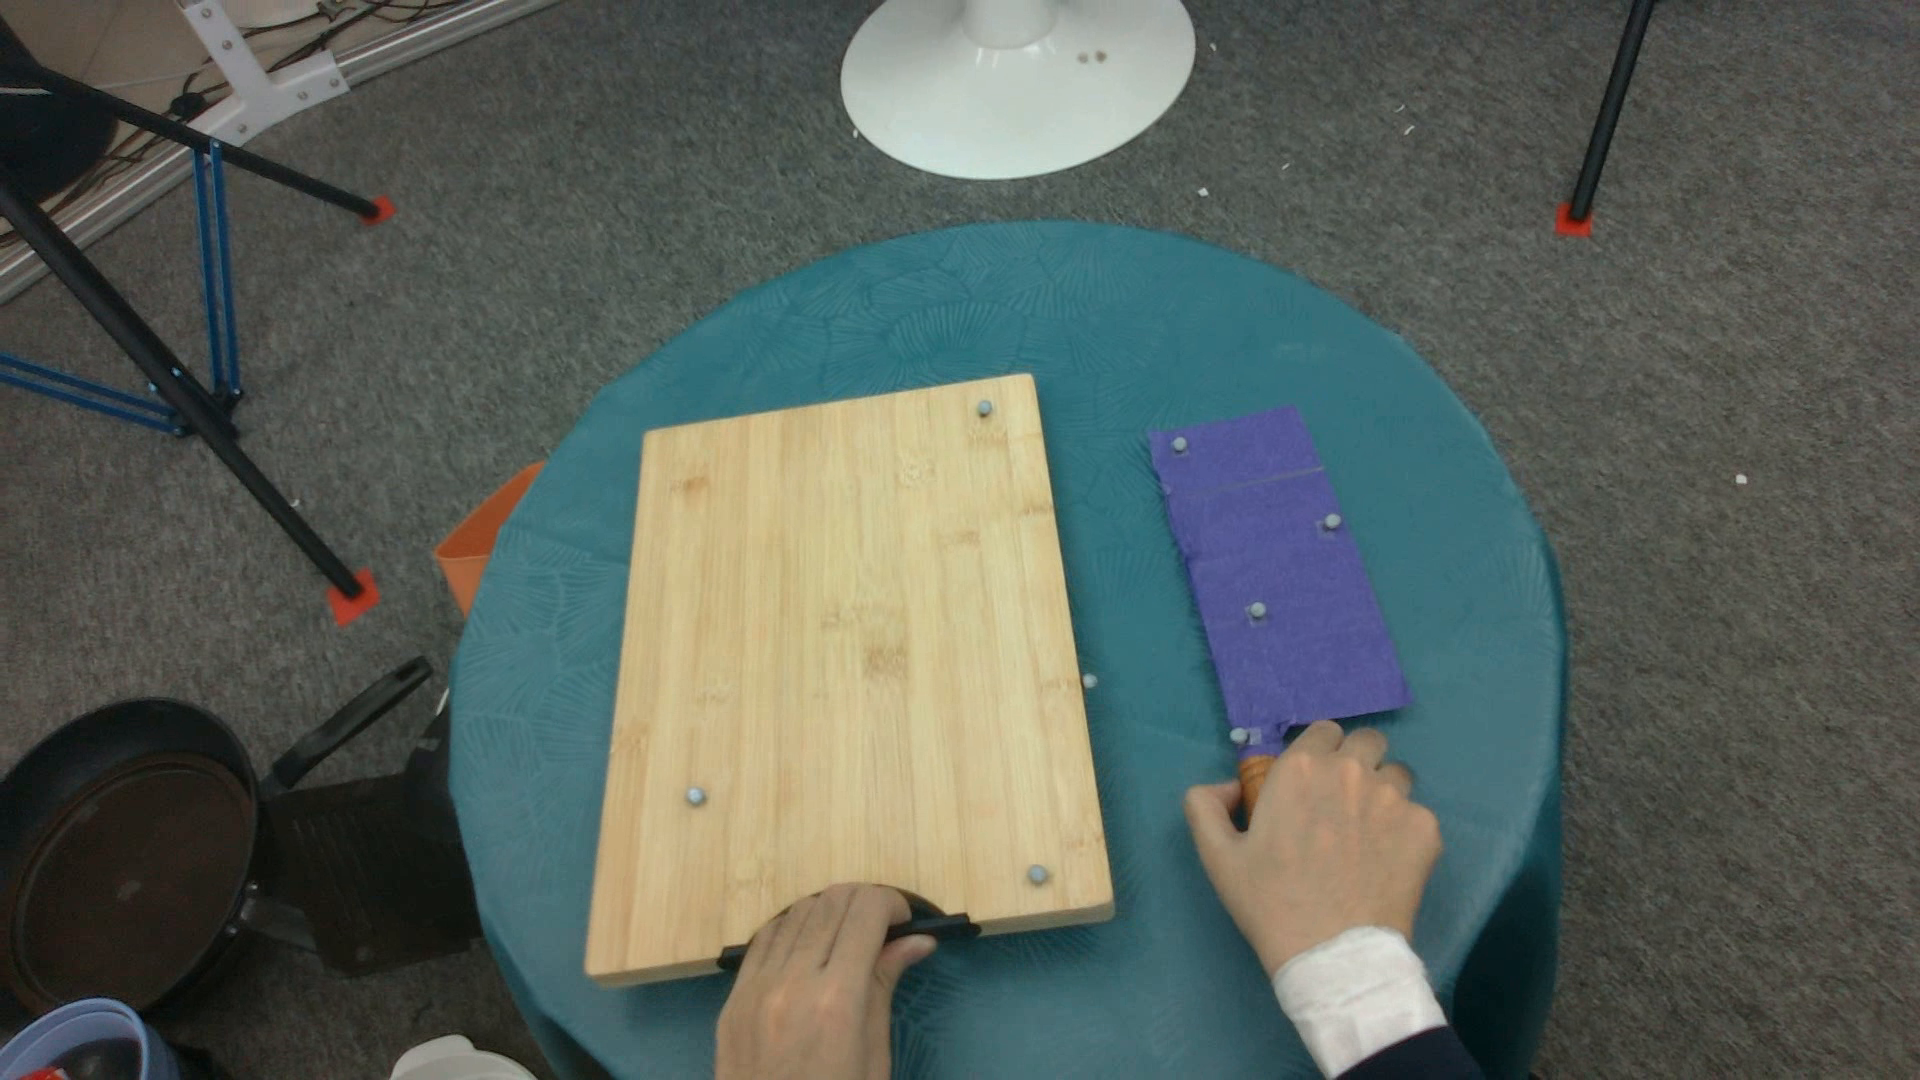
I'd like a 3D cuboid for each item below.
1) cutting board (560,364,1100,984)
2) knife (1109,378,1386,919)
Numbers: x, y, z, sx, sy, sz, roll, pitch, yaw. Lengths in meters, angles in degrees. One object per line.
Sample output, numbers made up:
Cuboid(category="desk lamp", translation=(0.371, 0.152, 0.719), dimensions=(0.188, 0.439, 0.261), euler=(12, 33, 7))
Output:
Cuboid(category="cutting board", translation=(-0.070, 0.047, 0.721), dimensions=(0.250, 0.023, 0.350), euler=(-9, 50, 2))
Cuboid(category="knife", translation=(0.161, 0.034, 0.708), dimensions=(0.104, 0.032, 0.316), euler=(-12, 55, 1))
